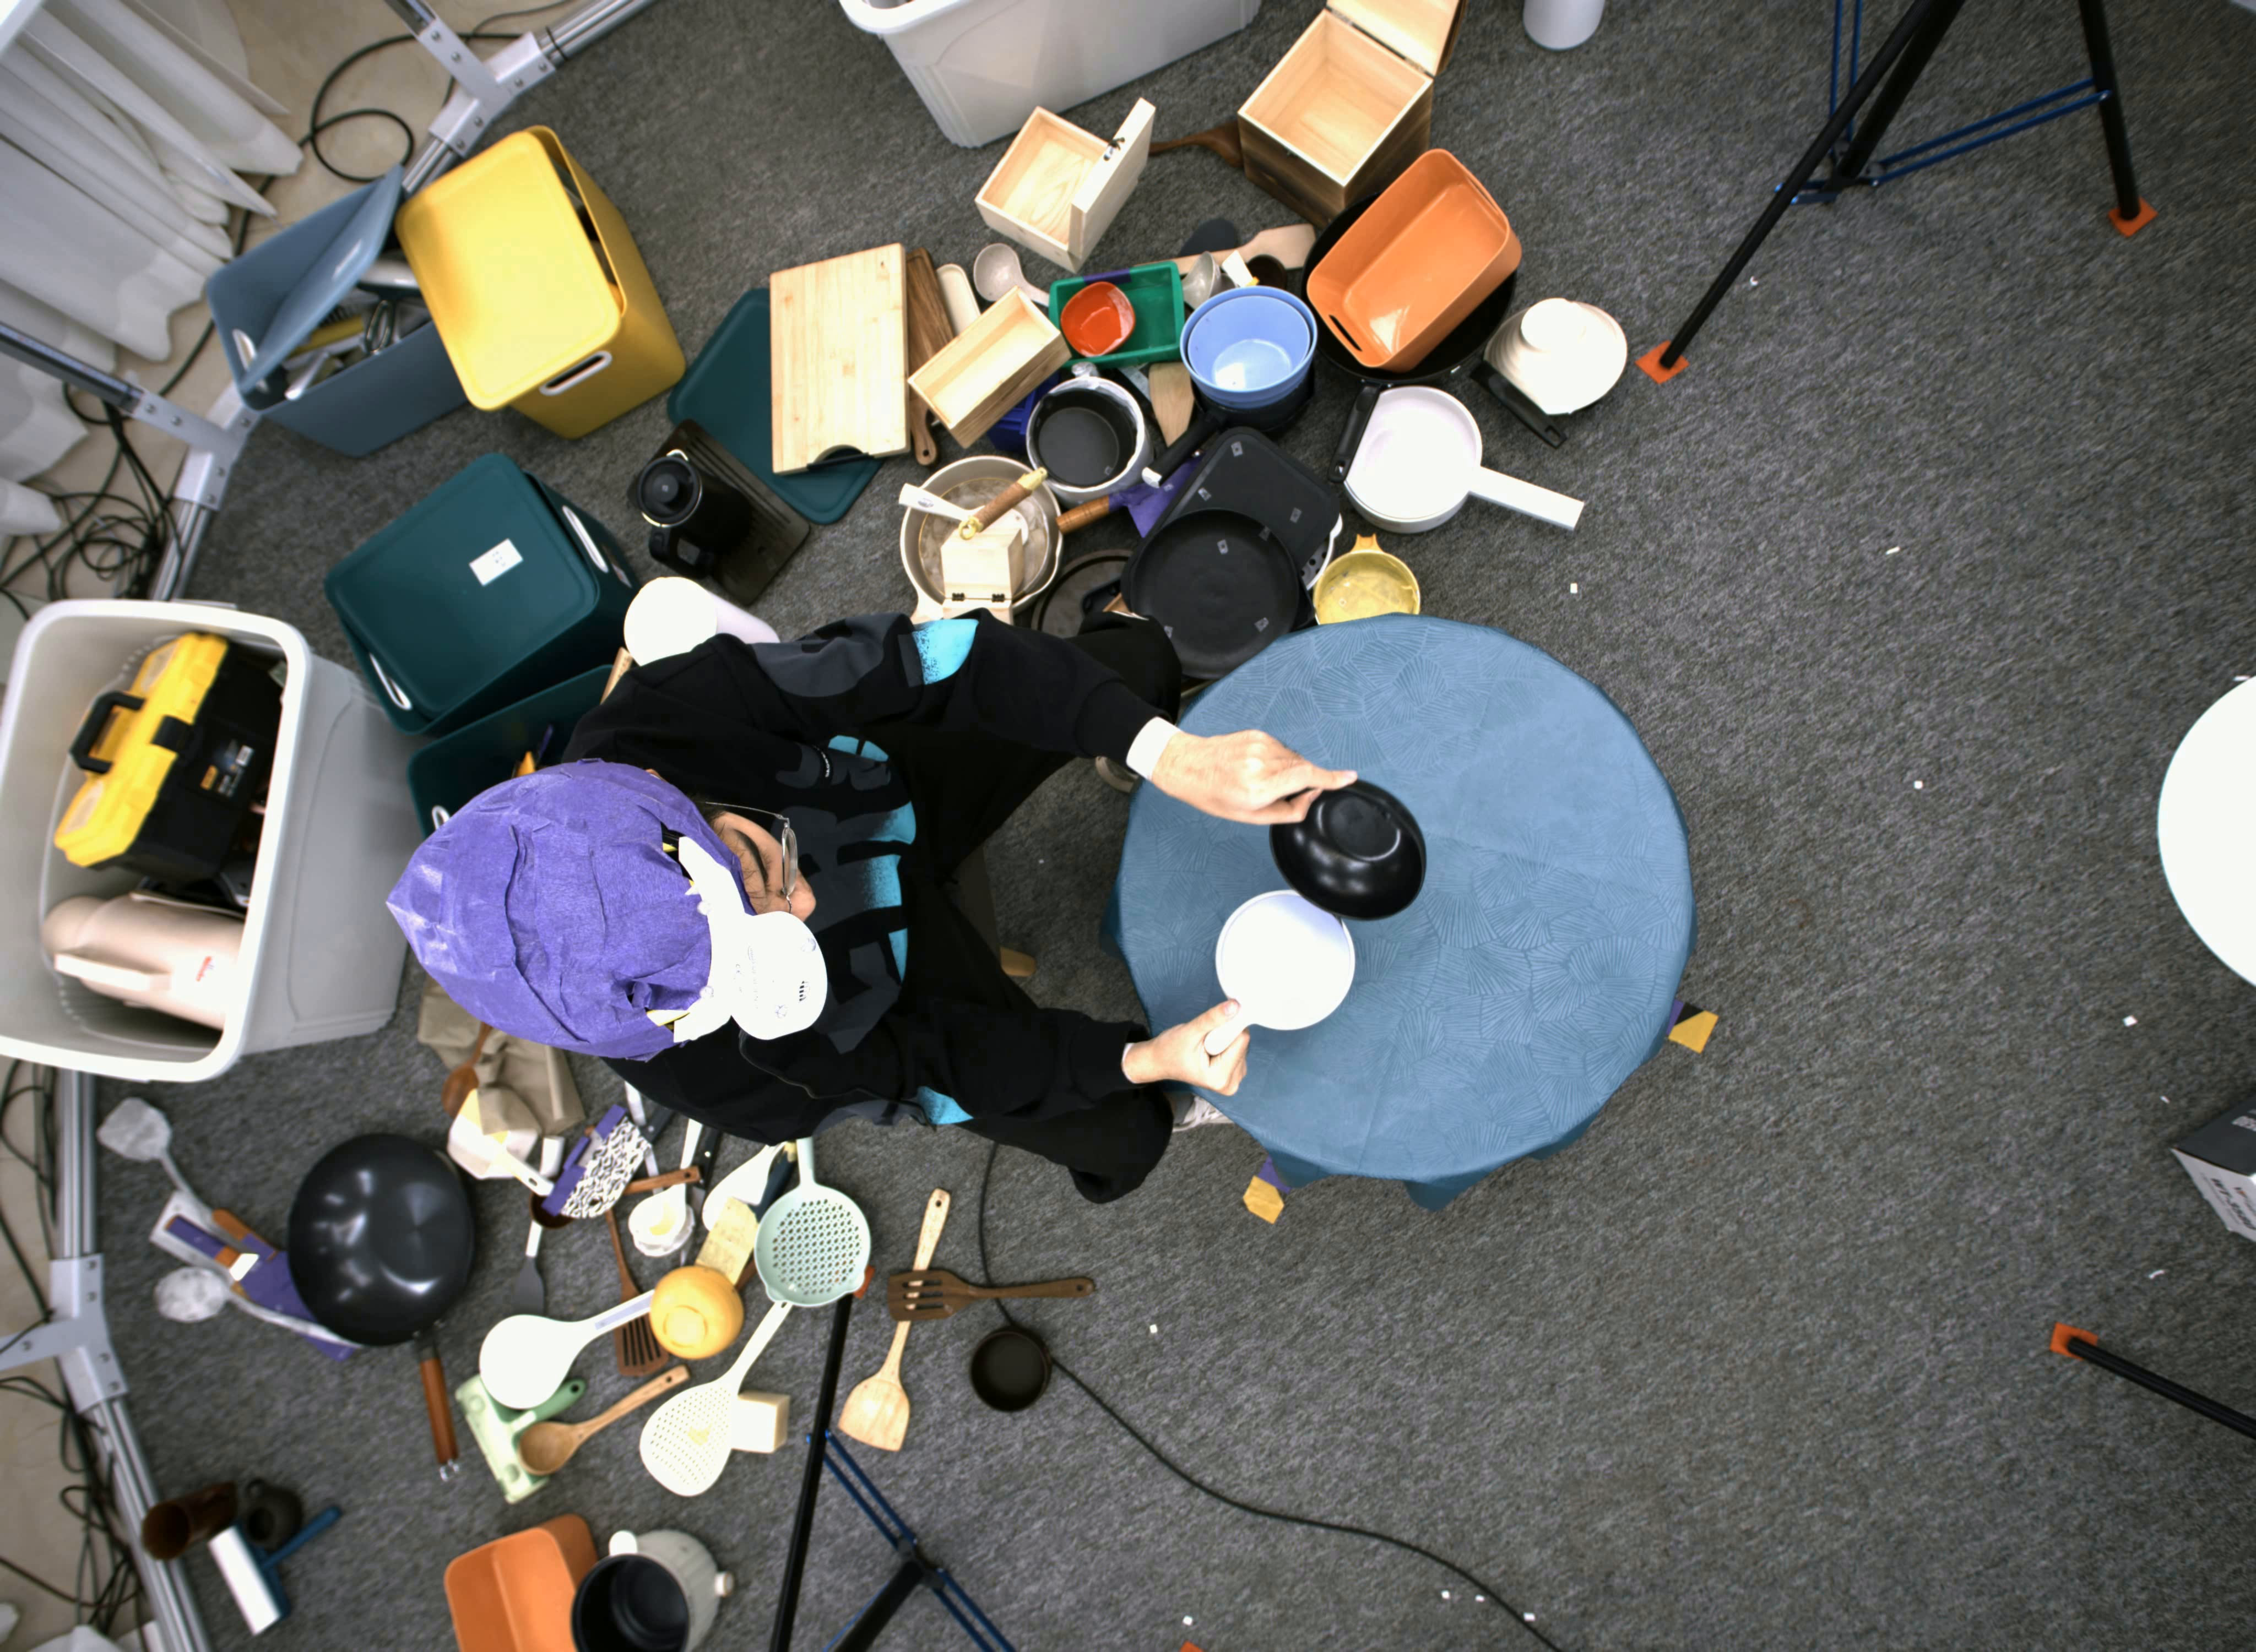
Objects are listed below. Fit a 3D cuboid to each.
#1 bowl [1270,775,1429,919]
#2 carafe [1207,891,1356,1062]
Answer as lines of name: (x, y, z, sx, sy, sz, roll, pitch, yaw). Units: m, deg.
bowl: (0.194, 0.009, 1.170, 0.140, 0.048, 0.144, 30, 137, 11)
carafe: (0.137, 0.150, 1.346, 0.132, 0.182, 0.191, 38, 92, 9)
